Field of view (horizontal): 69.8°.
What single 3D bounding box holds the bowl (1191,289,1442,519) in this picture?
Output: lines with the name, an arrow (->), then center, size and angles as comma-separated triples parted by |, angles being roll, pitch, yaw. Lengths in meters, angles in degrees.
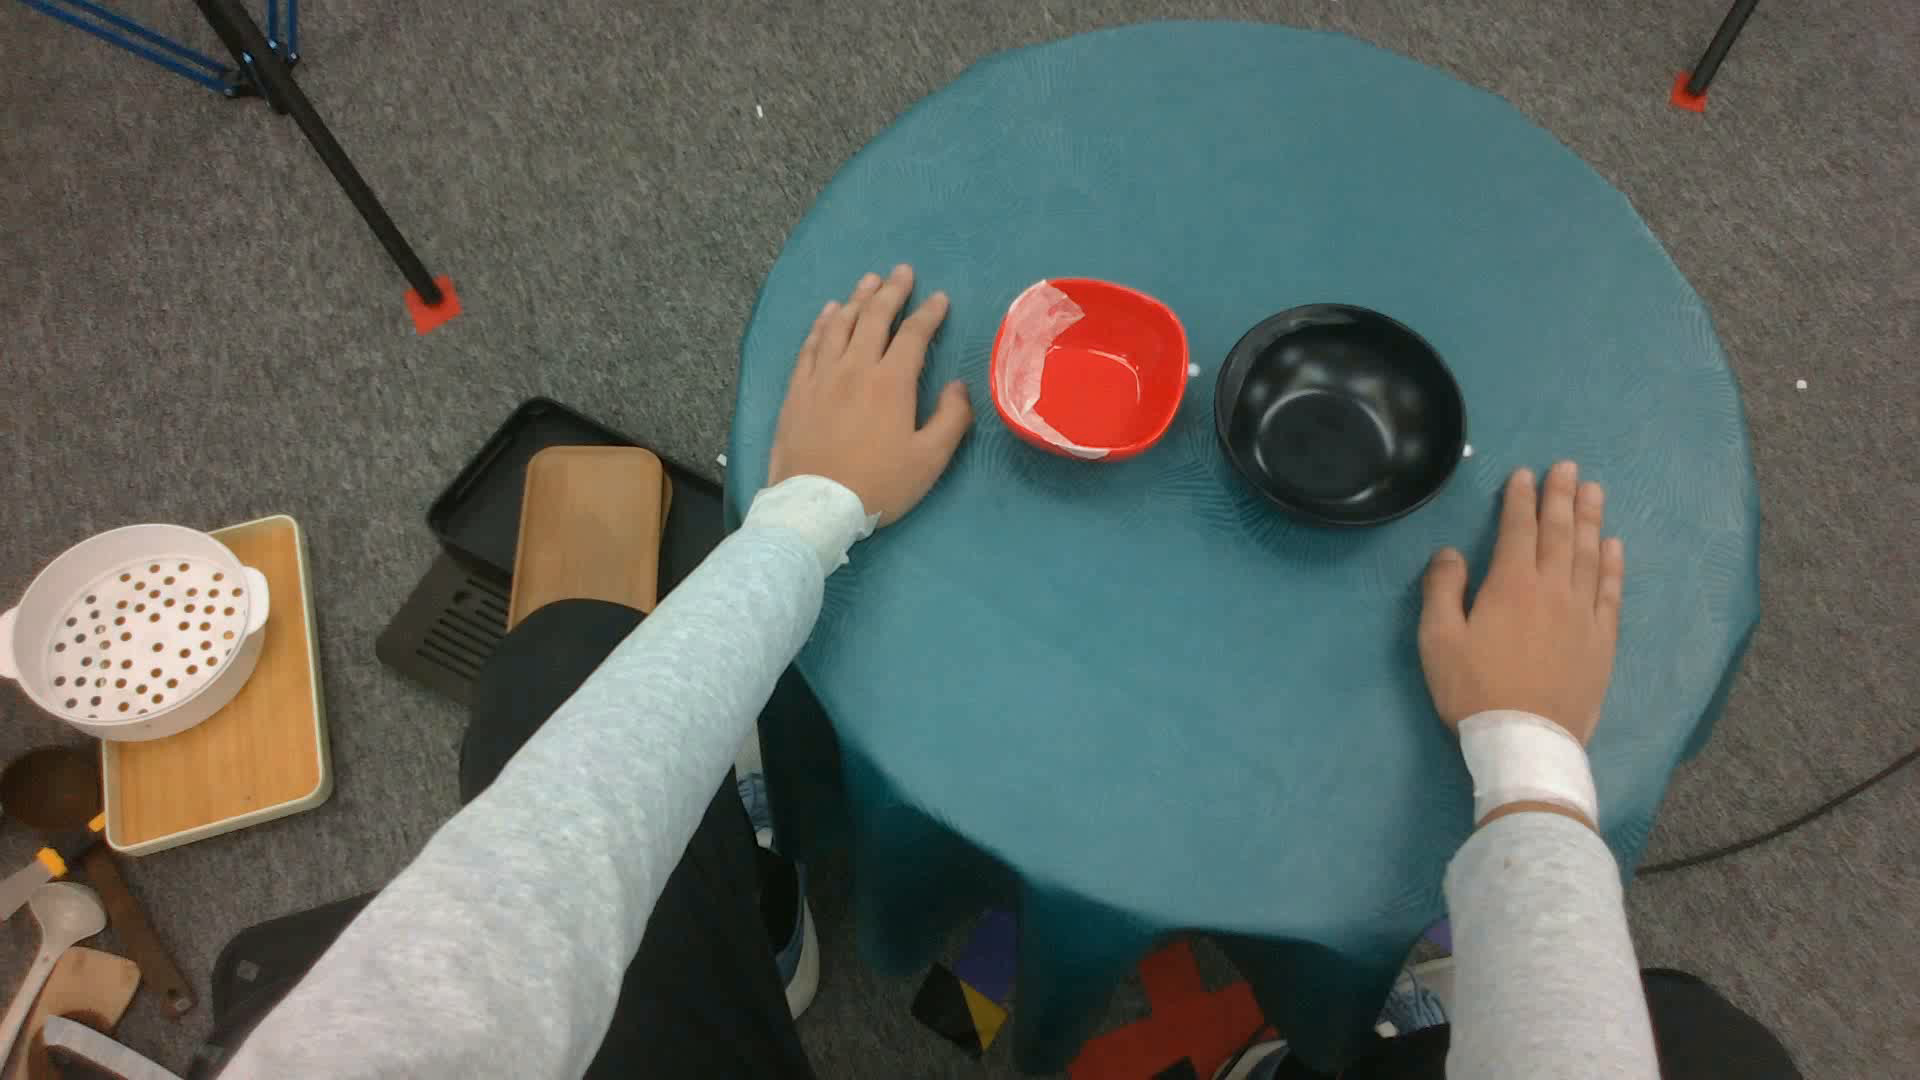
bowl -> 0.199, -0.072, 0.789 | 0.140, 0.049, 0.140 | 0, 70, 1

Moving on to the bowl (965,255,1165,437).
bowl -> 0.058, -0.103, 0.793 | 0.119, 0.051, 0.119 | 2, 64, -3
